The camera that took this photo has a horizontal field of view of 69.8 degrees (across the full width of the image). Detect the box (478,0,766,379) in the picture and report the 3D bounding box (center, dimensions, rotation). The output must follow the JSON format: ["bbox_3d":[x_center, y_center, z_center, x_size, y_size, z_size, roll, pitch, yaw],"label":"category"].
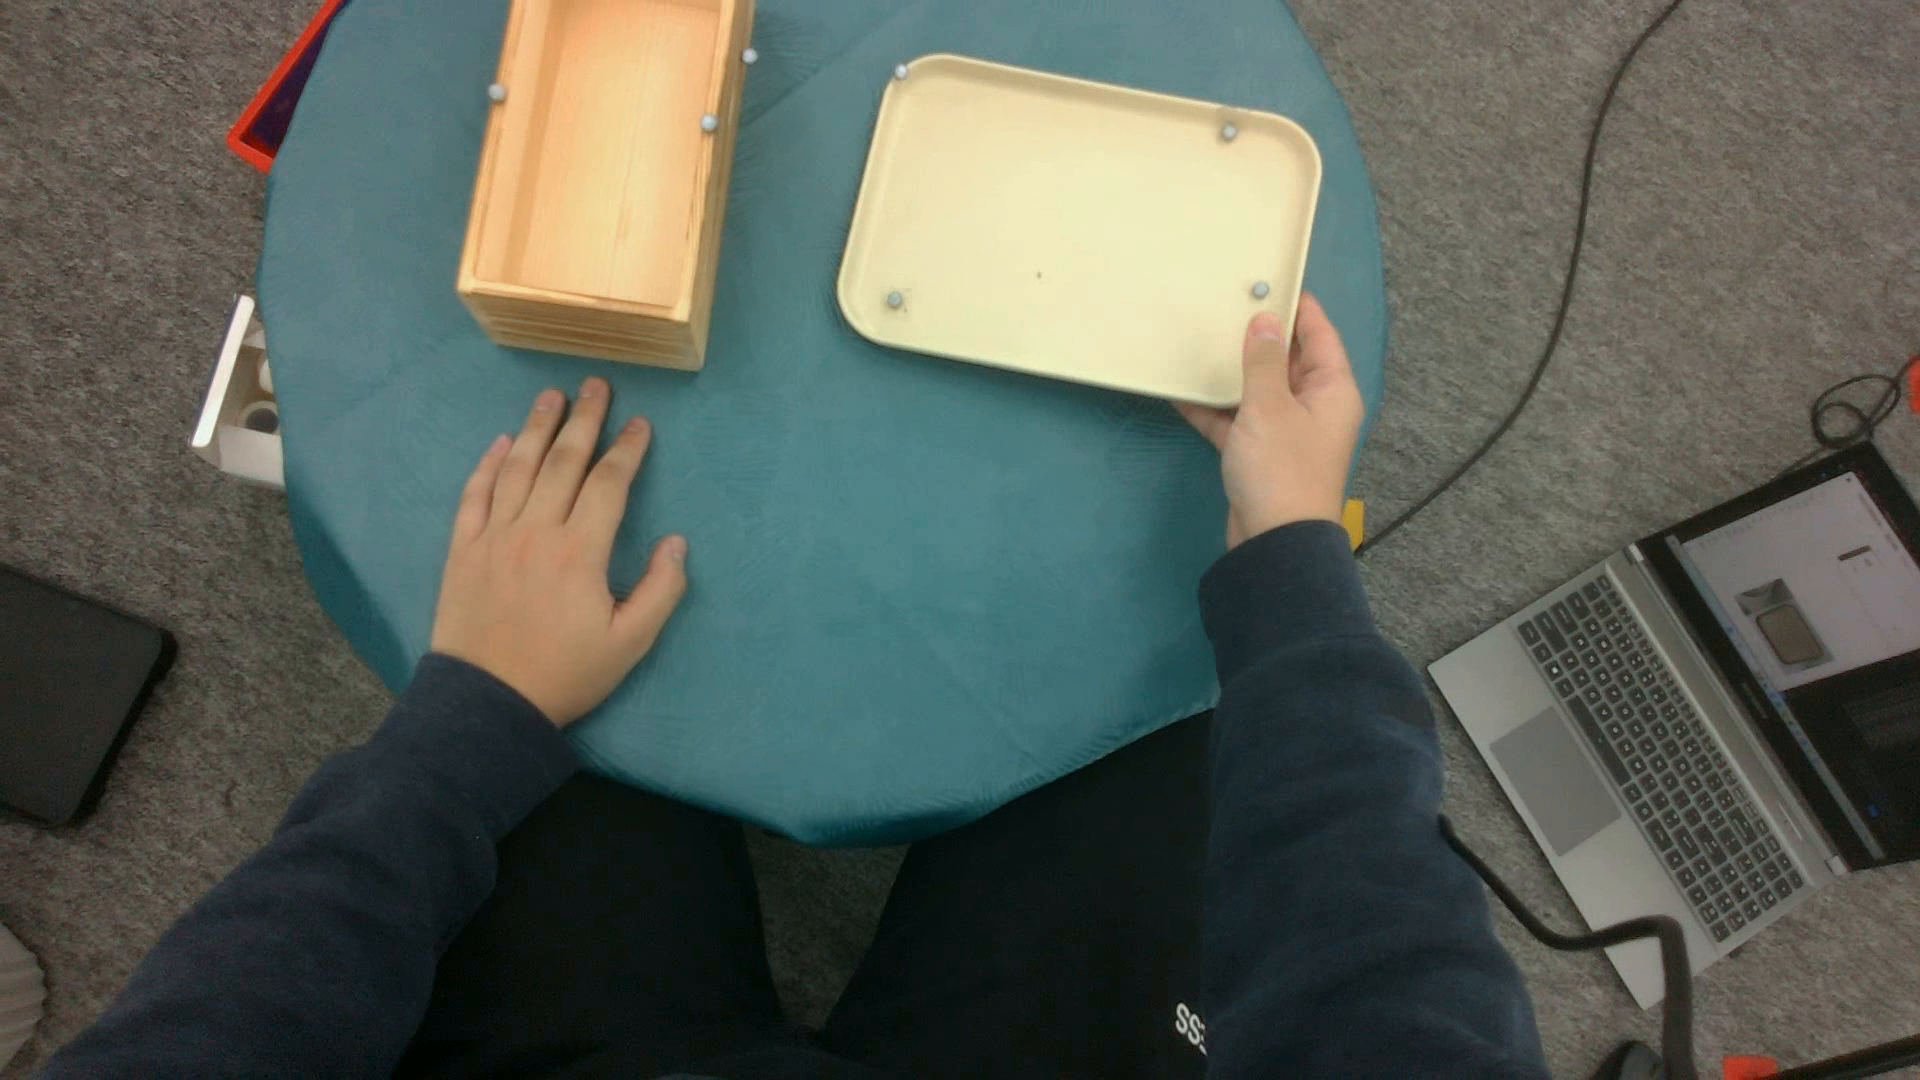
[{"bbox_3d":[-0.169,-0.200,0.715,0.107,0.080,0.212,6,78,-4],"label":"box"}]

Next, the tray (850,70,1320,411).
[{"bbox_3d":[0.069,-0.164,0.749,0.239,0.017,0.171,11,78,4],"label":"tray"}]
